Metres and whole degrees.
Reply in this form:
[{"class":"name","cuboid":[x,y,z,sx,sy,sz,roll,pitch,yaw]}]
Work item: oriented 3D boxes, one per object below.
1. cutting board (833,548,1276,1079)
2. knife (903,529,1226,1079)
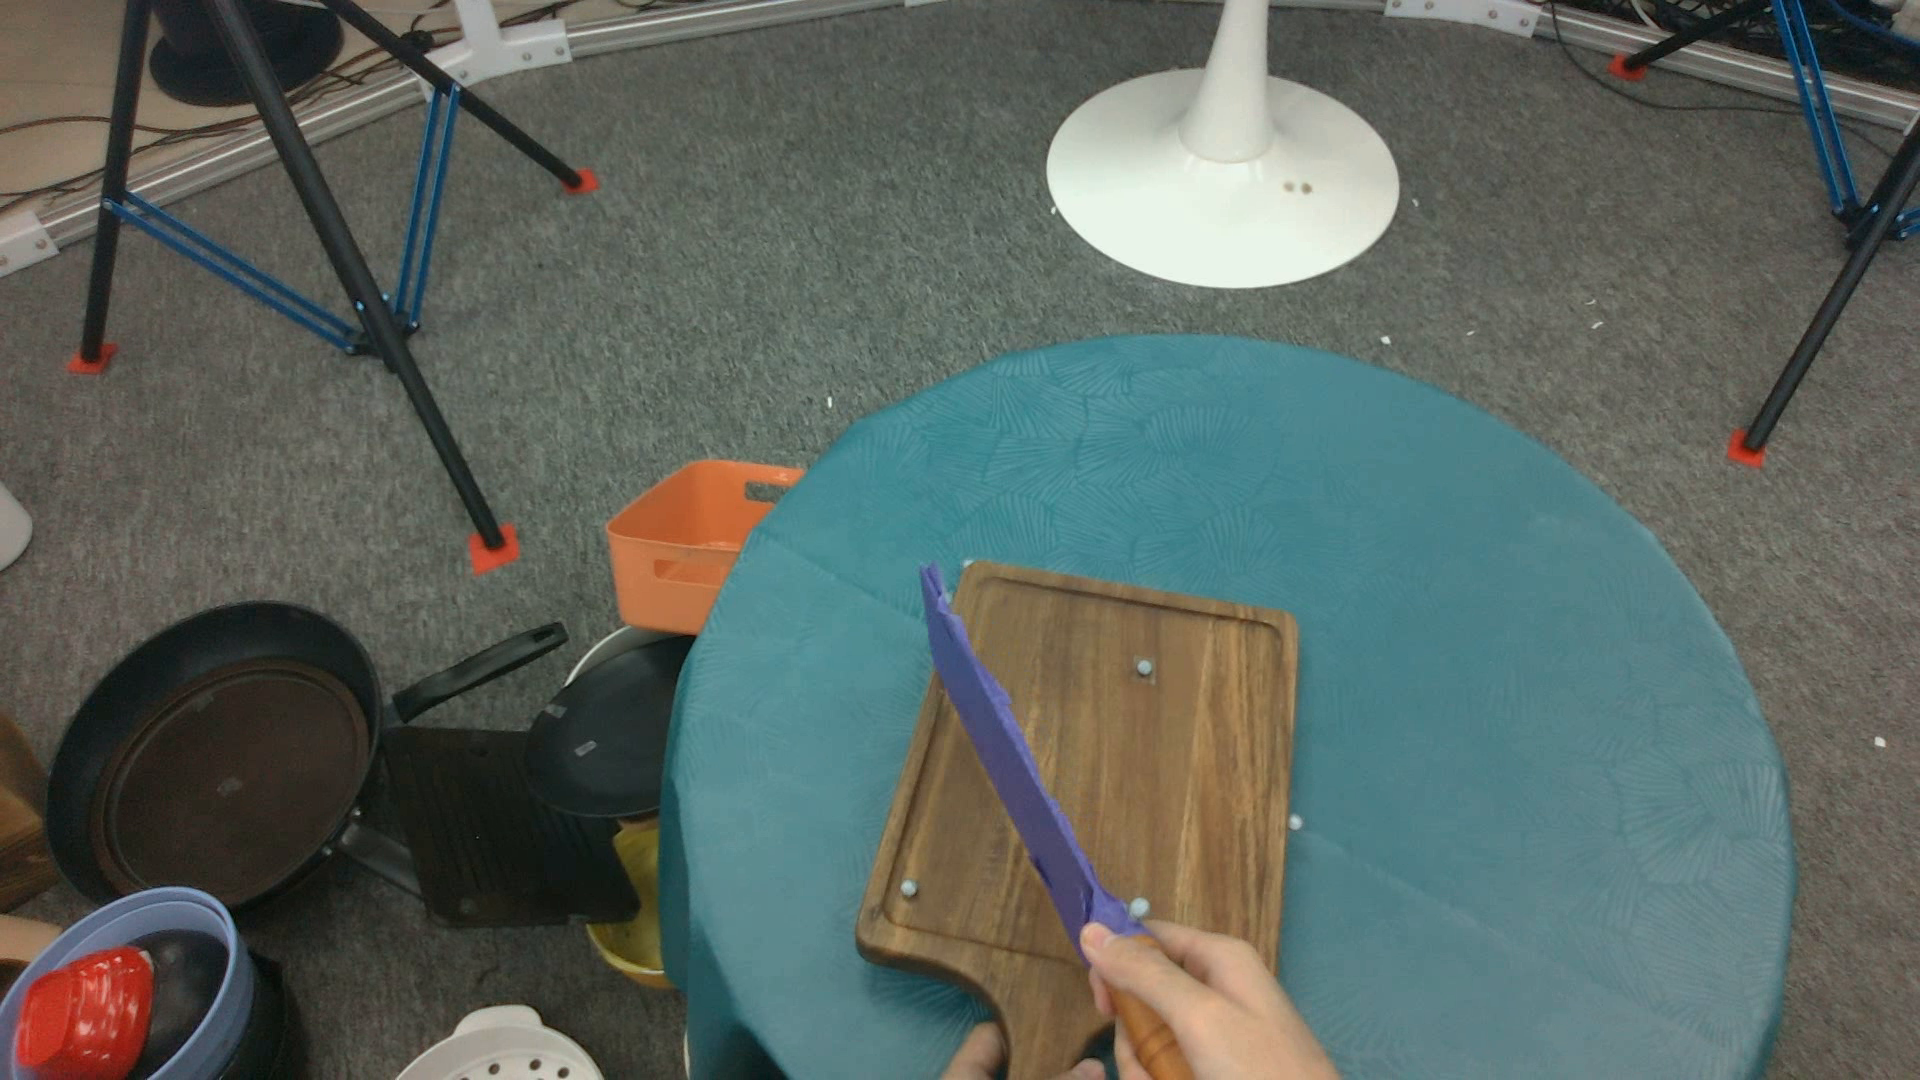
[{"class":"cutting board","cuboid":[0.049,0.148,0.686,0.201,0.023,0.354,10,48,7]},{"class":"knife","cuboid":[0.037,0.132,0.623,0.032,0.103,0.316,-19,51,-11]}]
